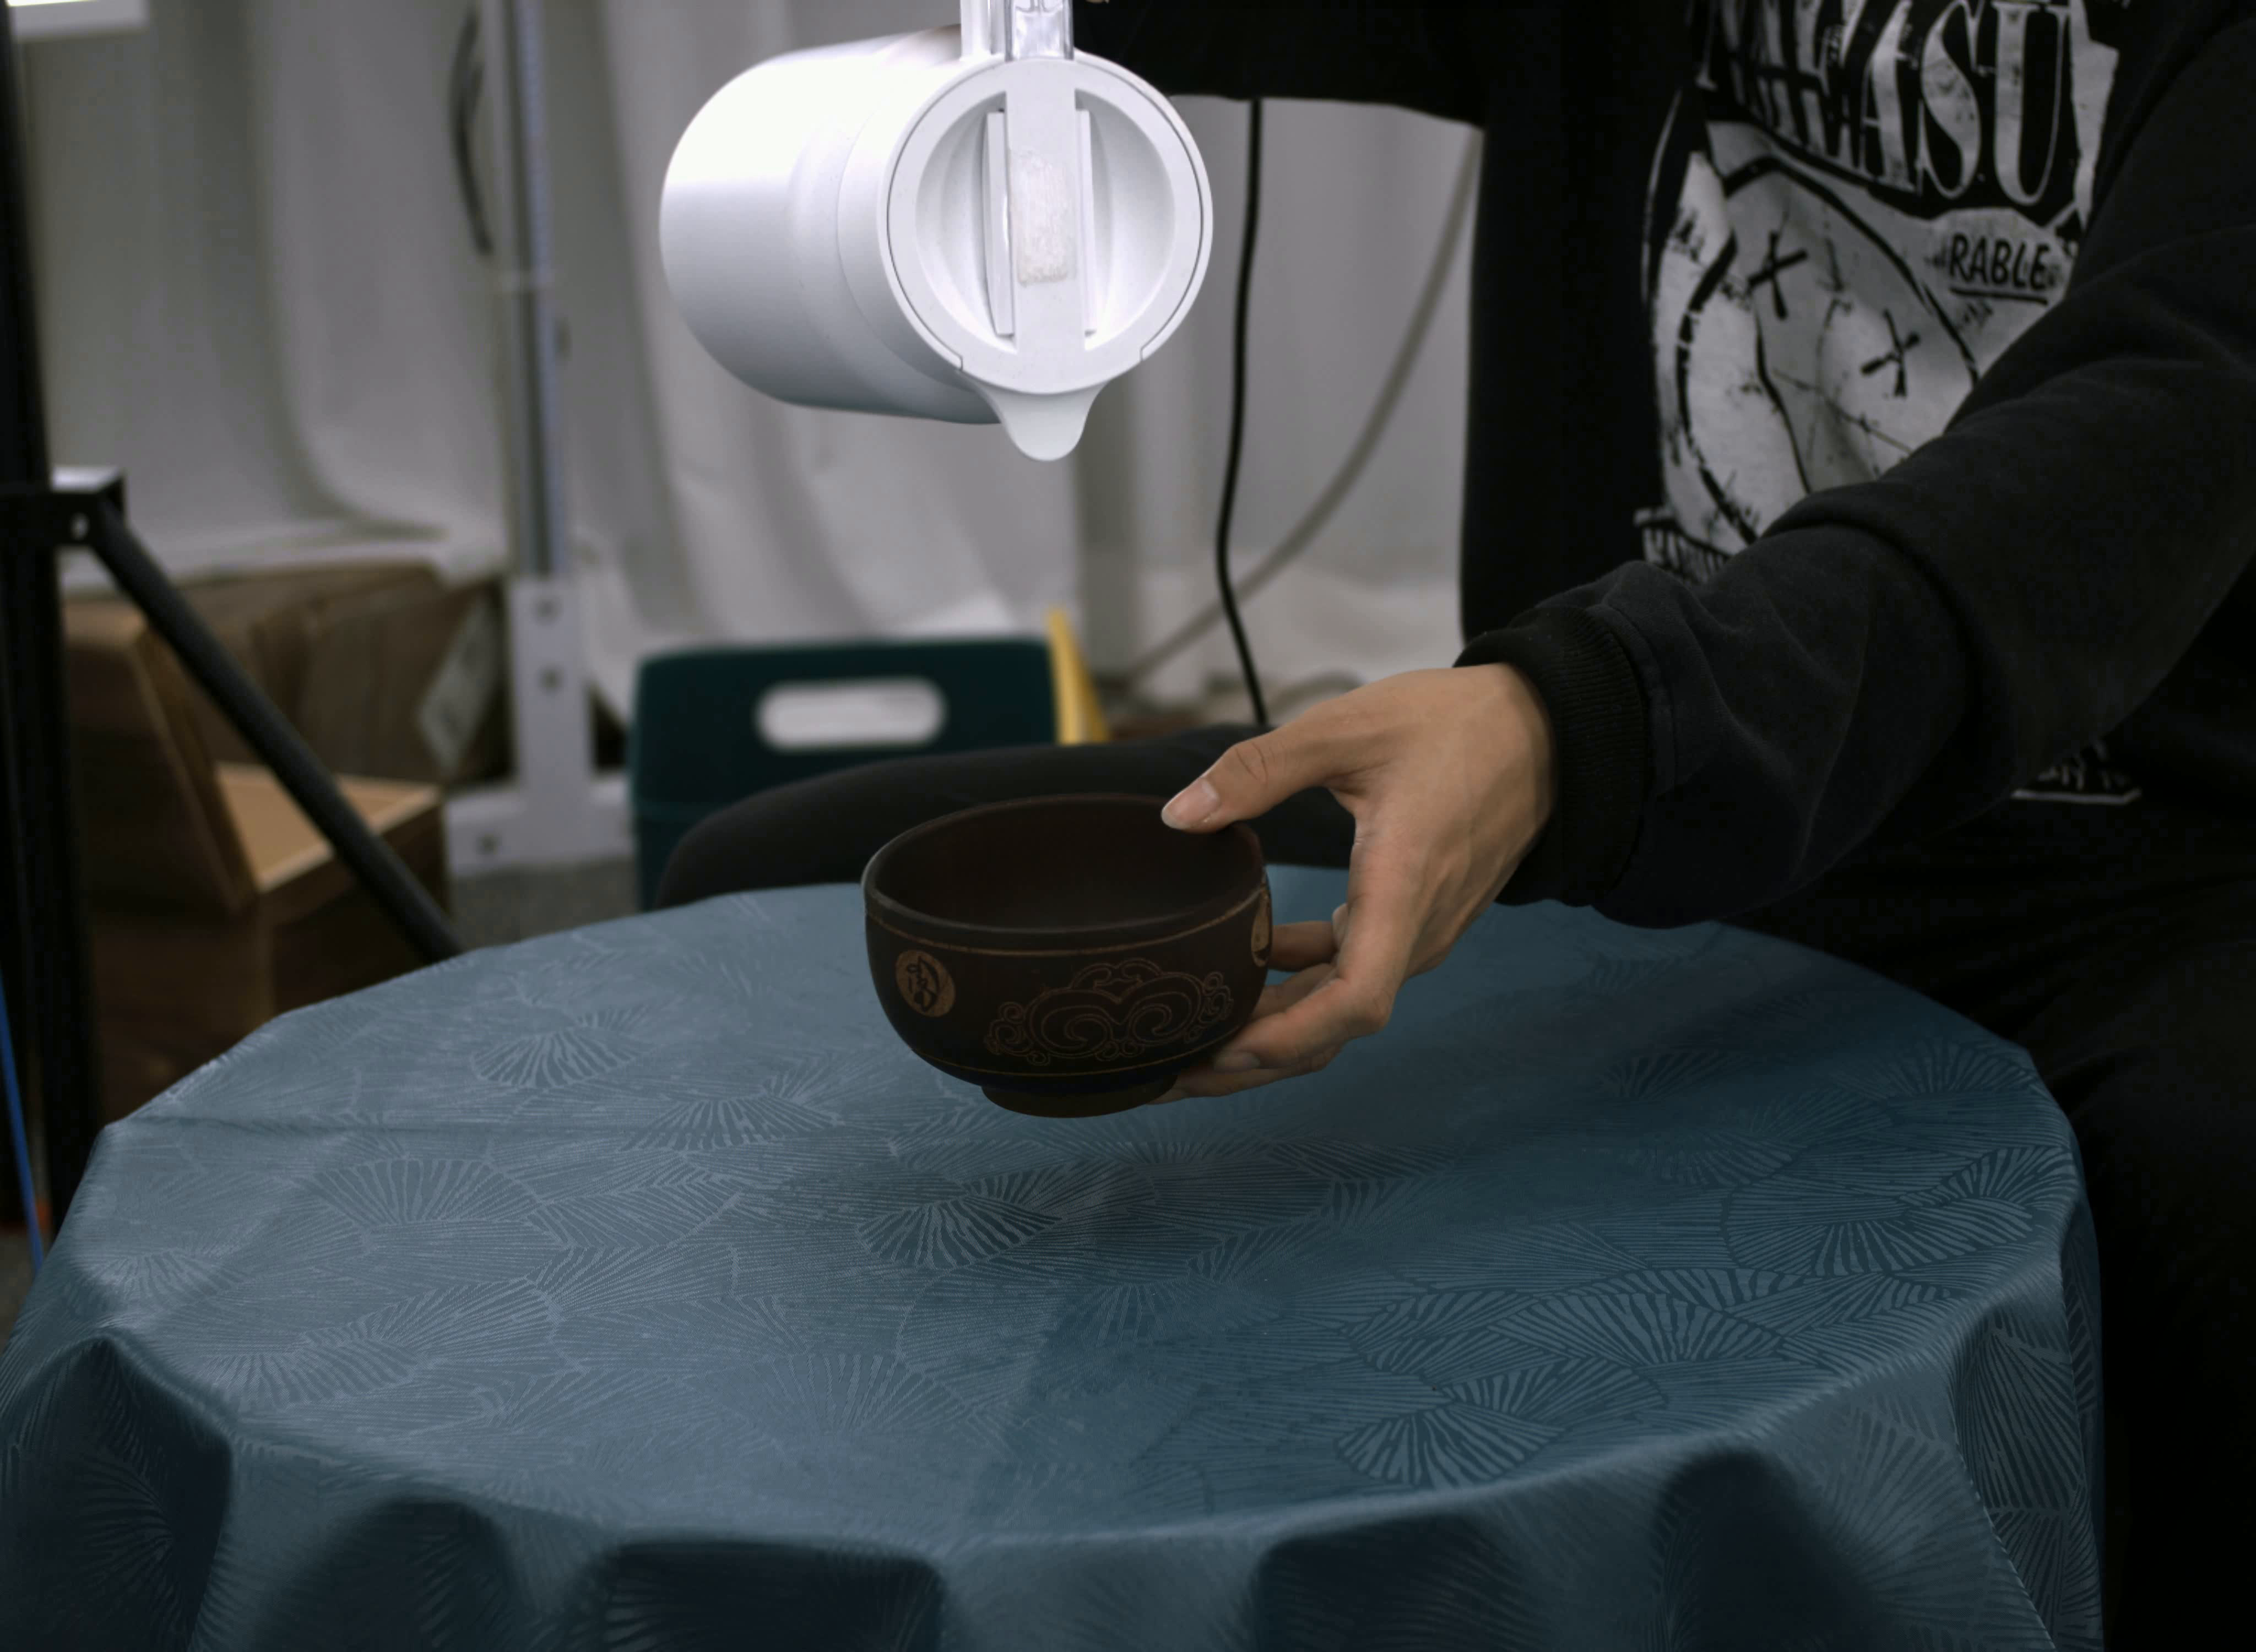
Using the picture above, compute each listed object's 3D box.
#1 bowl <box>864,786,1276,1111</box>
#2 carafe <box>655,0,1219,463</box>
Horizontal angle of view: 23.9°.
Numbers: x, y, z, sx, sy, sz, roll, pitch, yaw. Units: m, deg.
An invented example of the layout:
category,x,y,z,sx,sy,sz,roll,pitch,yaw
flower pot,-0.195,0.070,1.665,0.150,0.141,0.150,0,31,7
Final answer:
category,x,y,z,sx,sy,sz,roll,pitch,yaw
bowl,-0.015,0.039,1.523,0.117,0.070,0.119,-5,18,0
carafe,-0.062,-0.200,1.611,0.122,0.173,0.272,-5,7,-14
